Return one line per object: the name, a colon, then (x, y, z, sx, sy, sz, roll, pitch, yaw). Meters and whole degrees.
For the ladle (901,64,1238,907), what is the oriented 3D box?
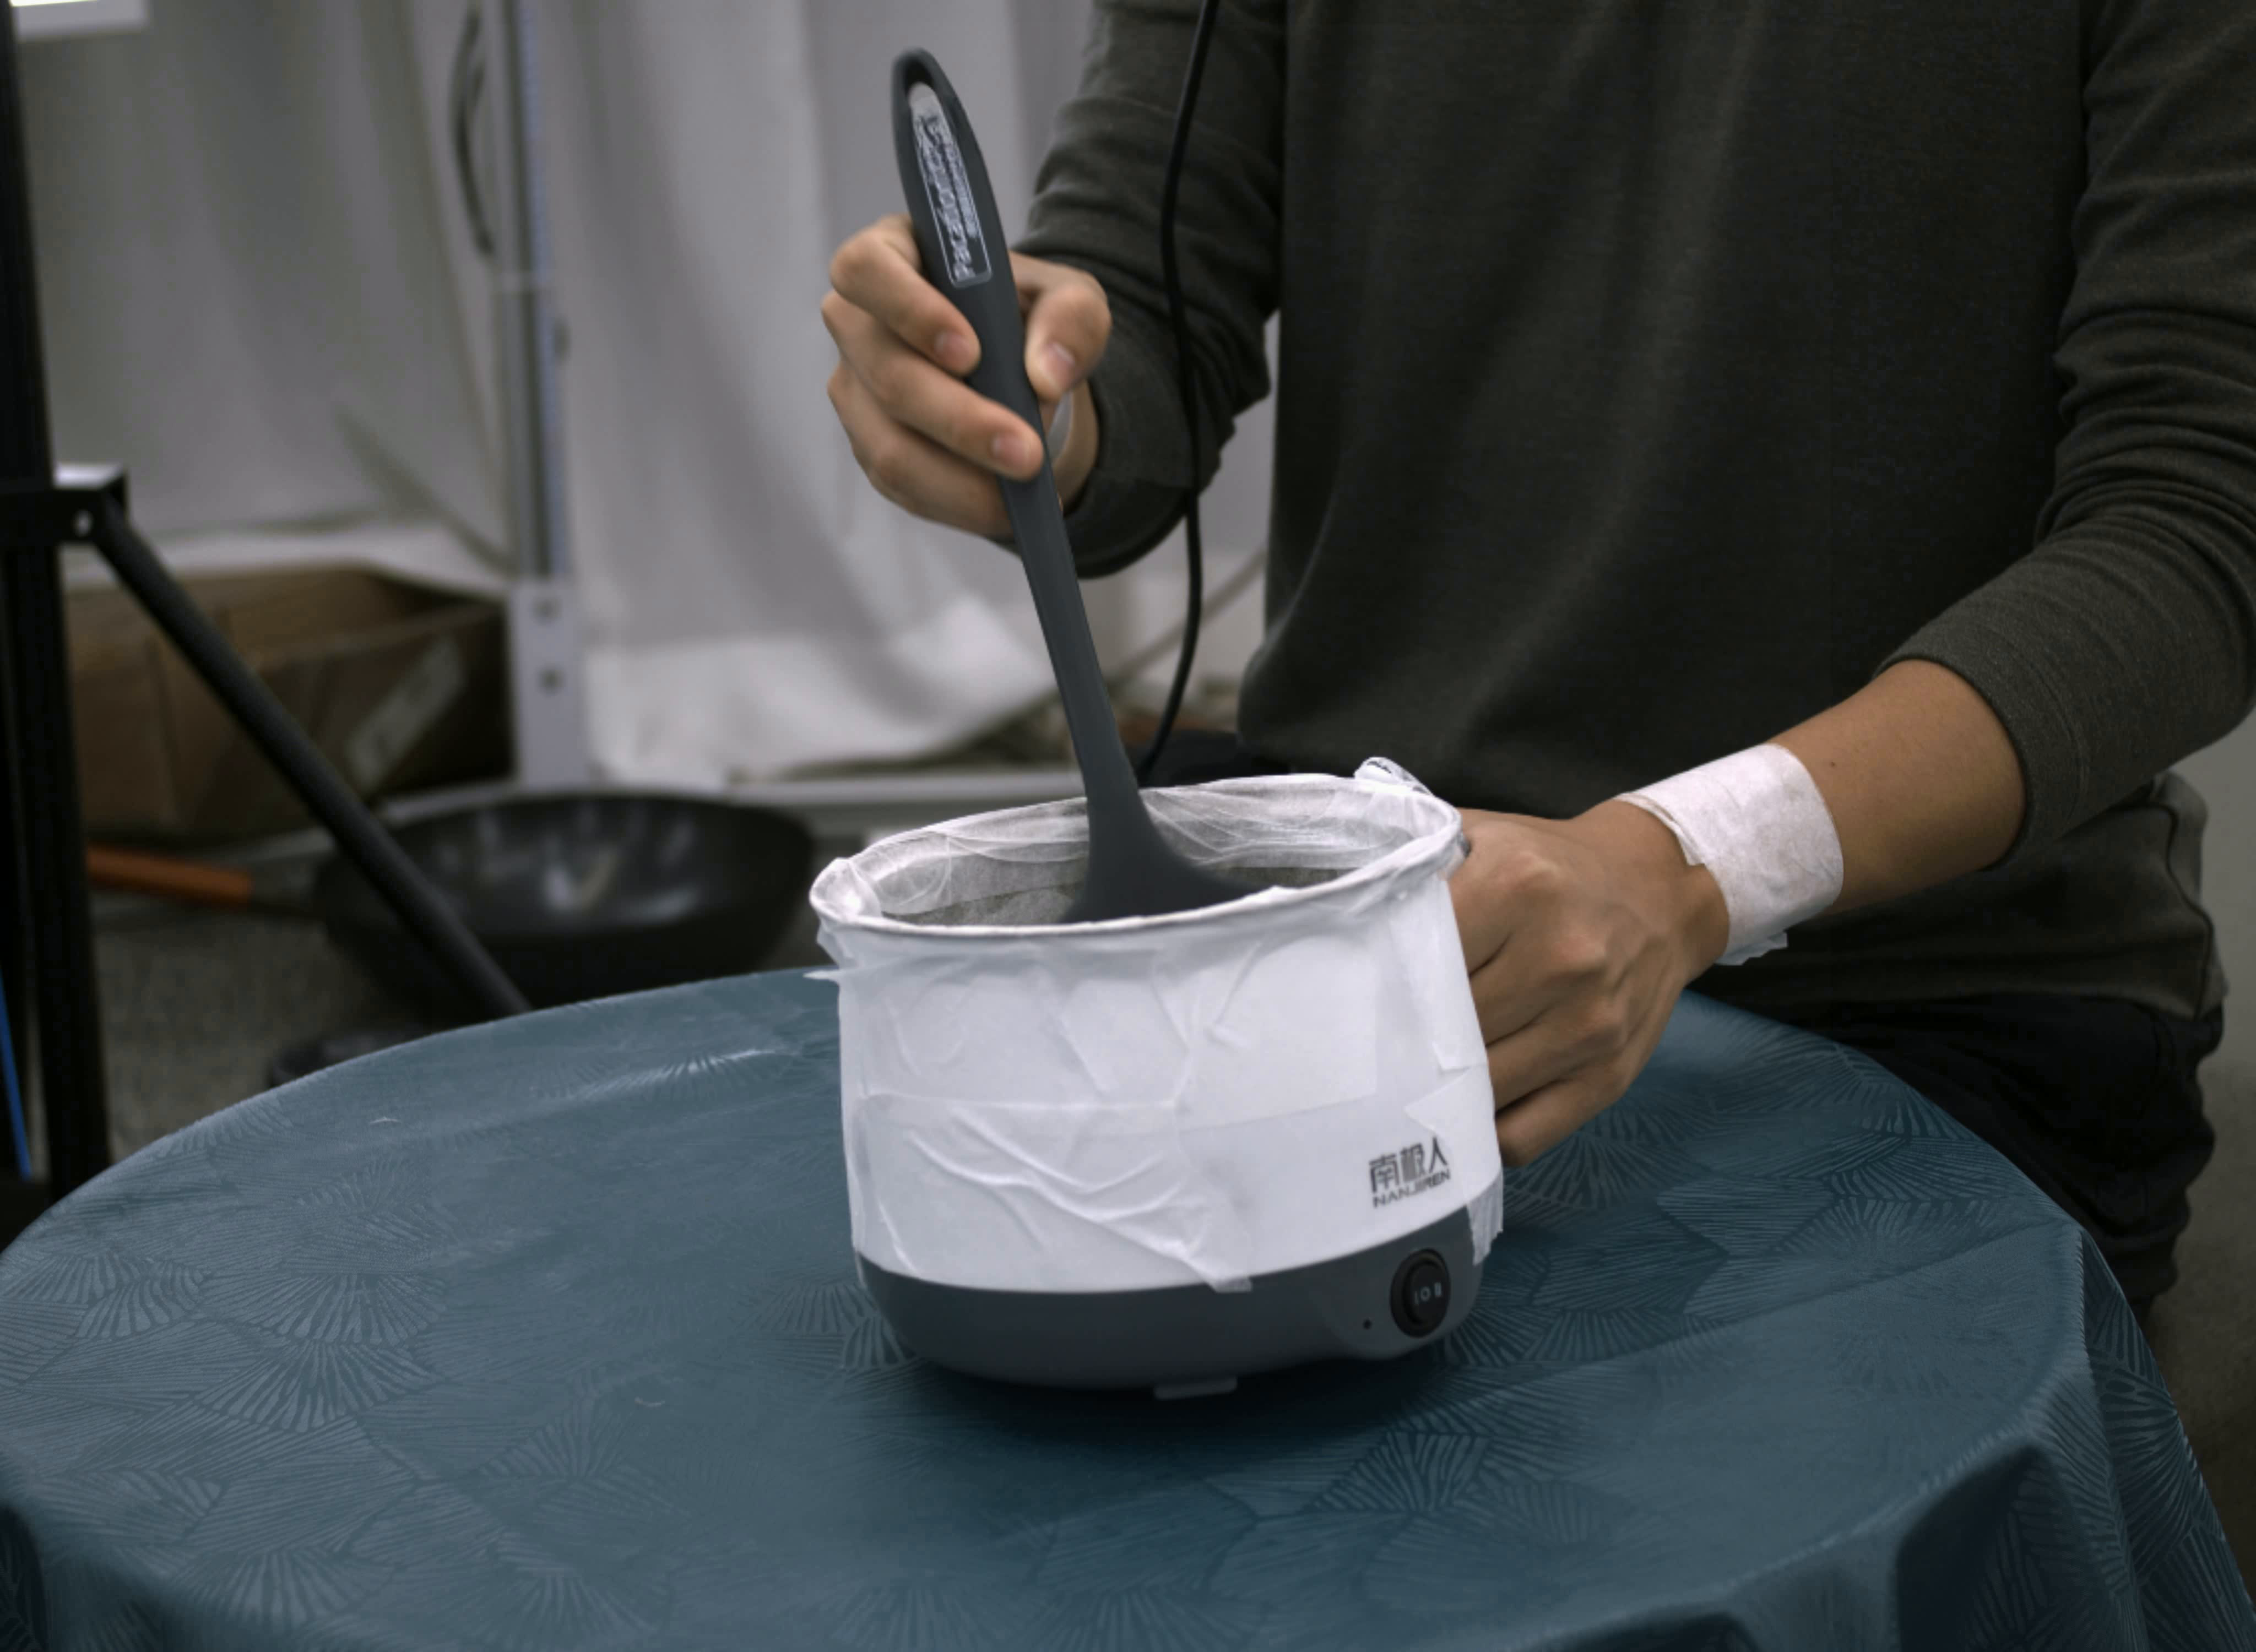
ladle: (-0.022, -0.075, 1.480, 0.086, 0.317, 0.063, -15, -15, 1)

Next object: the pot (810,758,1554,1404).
pot: (0.028, 0.063, 1.447, 0.182, 0.137, 0.228, 4, 15, 44)
